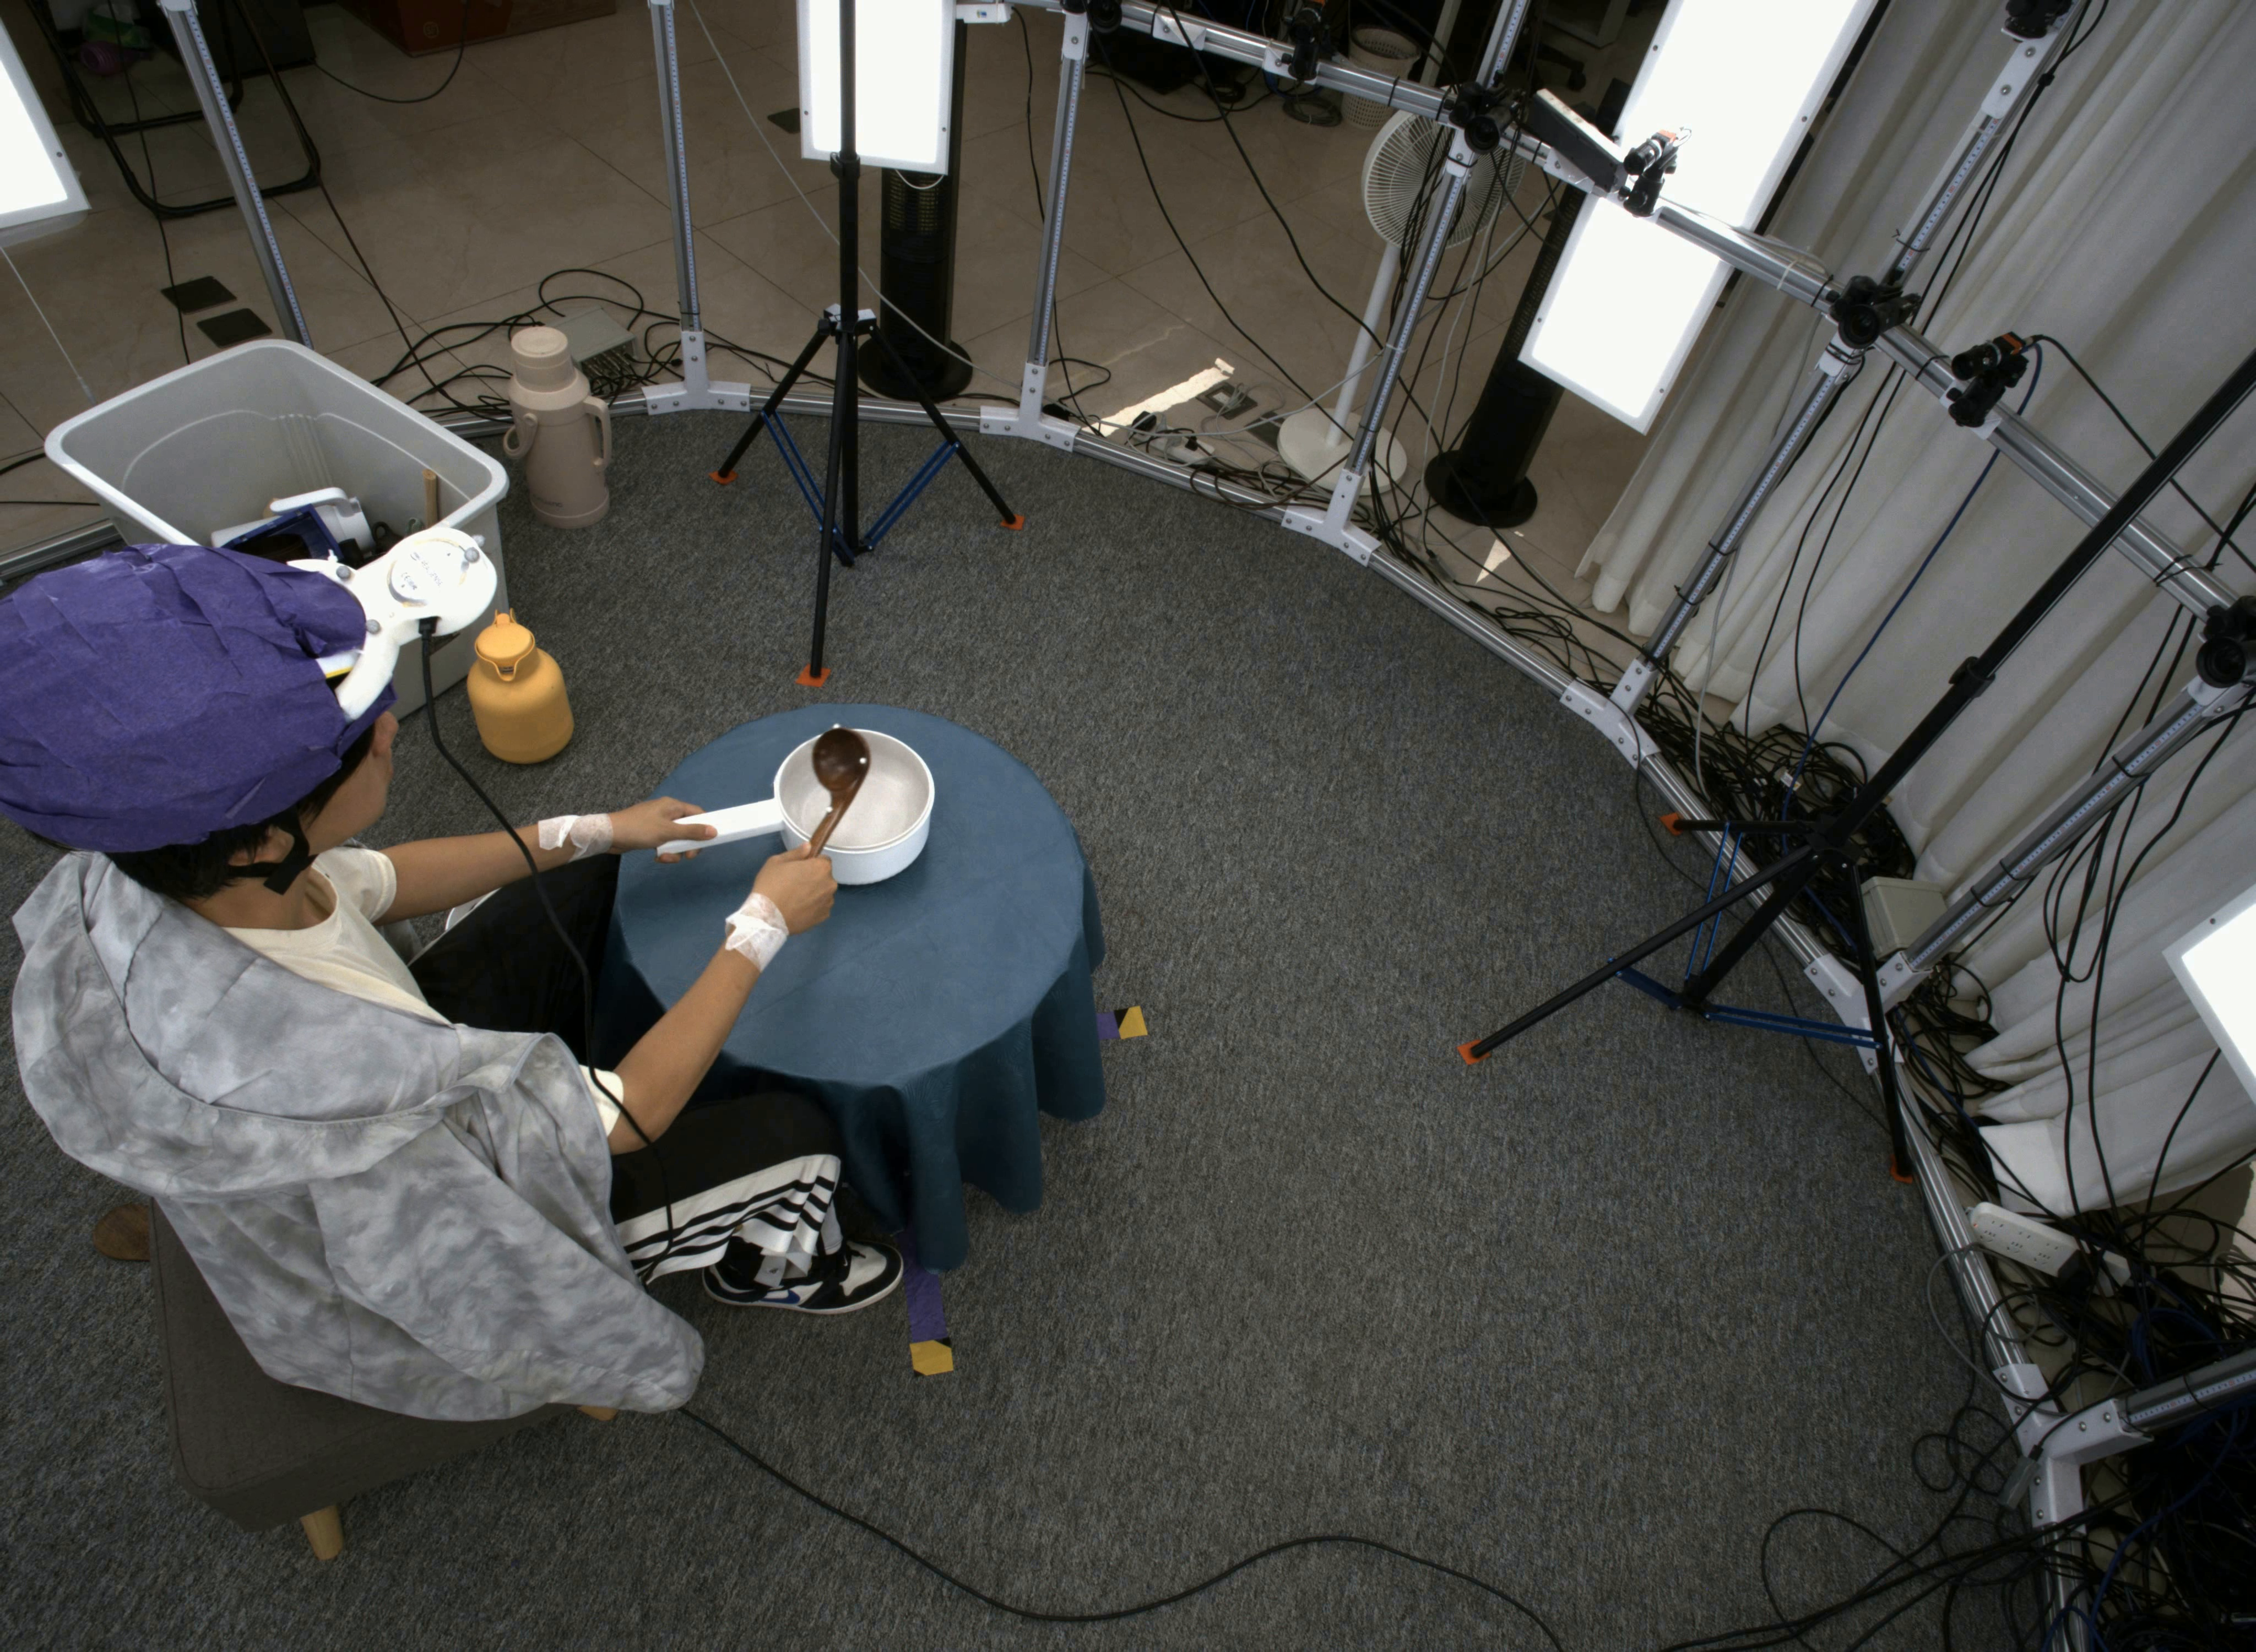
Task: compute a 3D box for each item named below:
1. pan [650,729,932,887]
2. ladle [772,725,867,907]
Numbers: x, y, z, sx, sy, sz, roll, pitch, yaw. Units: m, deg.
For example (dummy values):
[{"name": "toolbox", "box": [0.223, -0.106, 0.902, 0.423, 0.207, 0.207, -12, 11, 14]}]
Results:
[{"name": "pan", "box": [-0.426, -0.002, 1.664, 0.356, 0.104, 0.196, -14, 59, -22]}, {"name": "ladle", "box": [-0.376, -0.022, 1.524, 0.079, 0.080, 0.270, 51, 31, -24]}]
